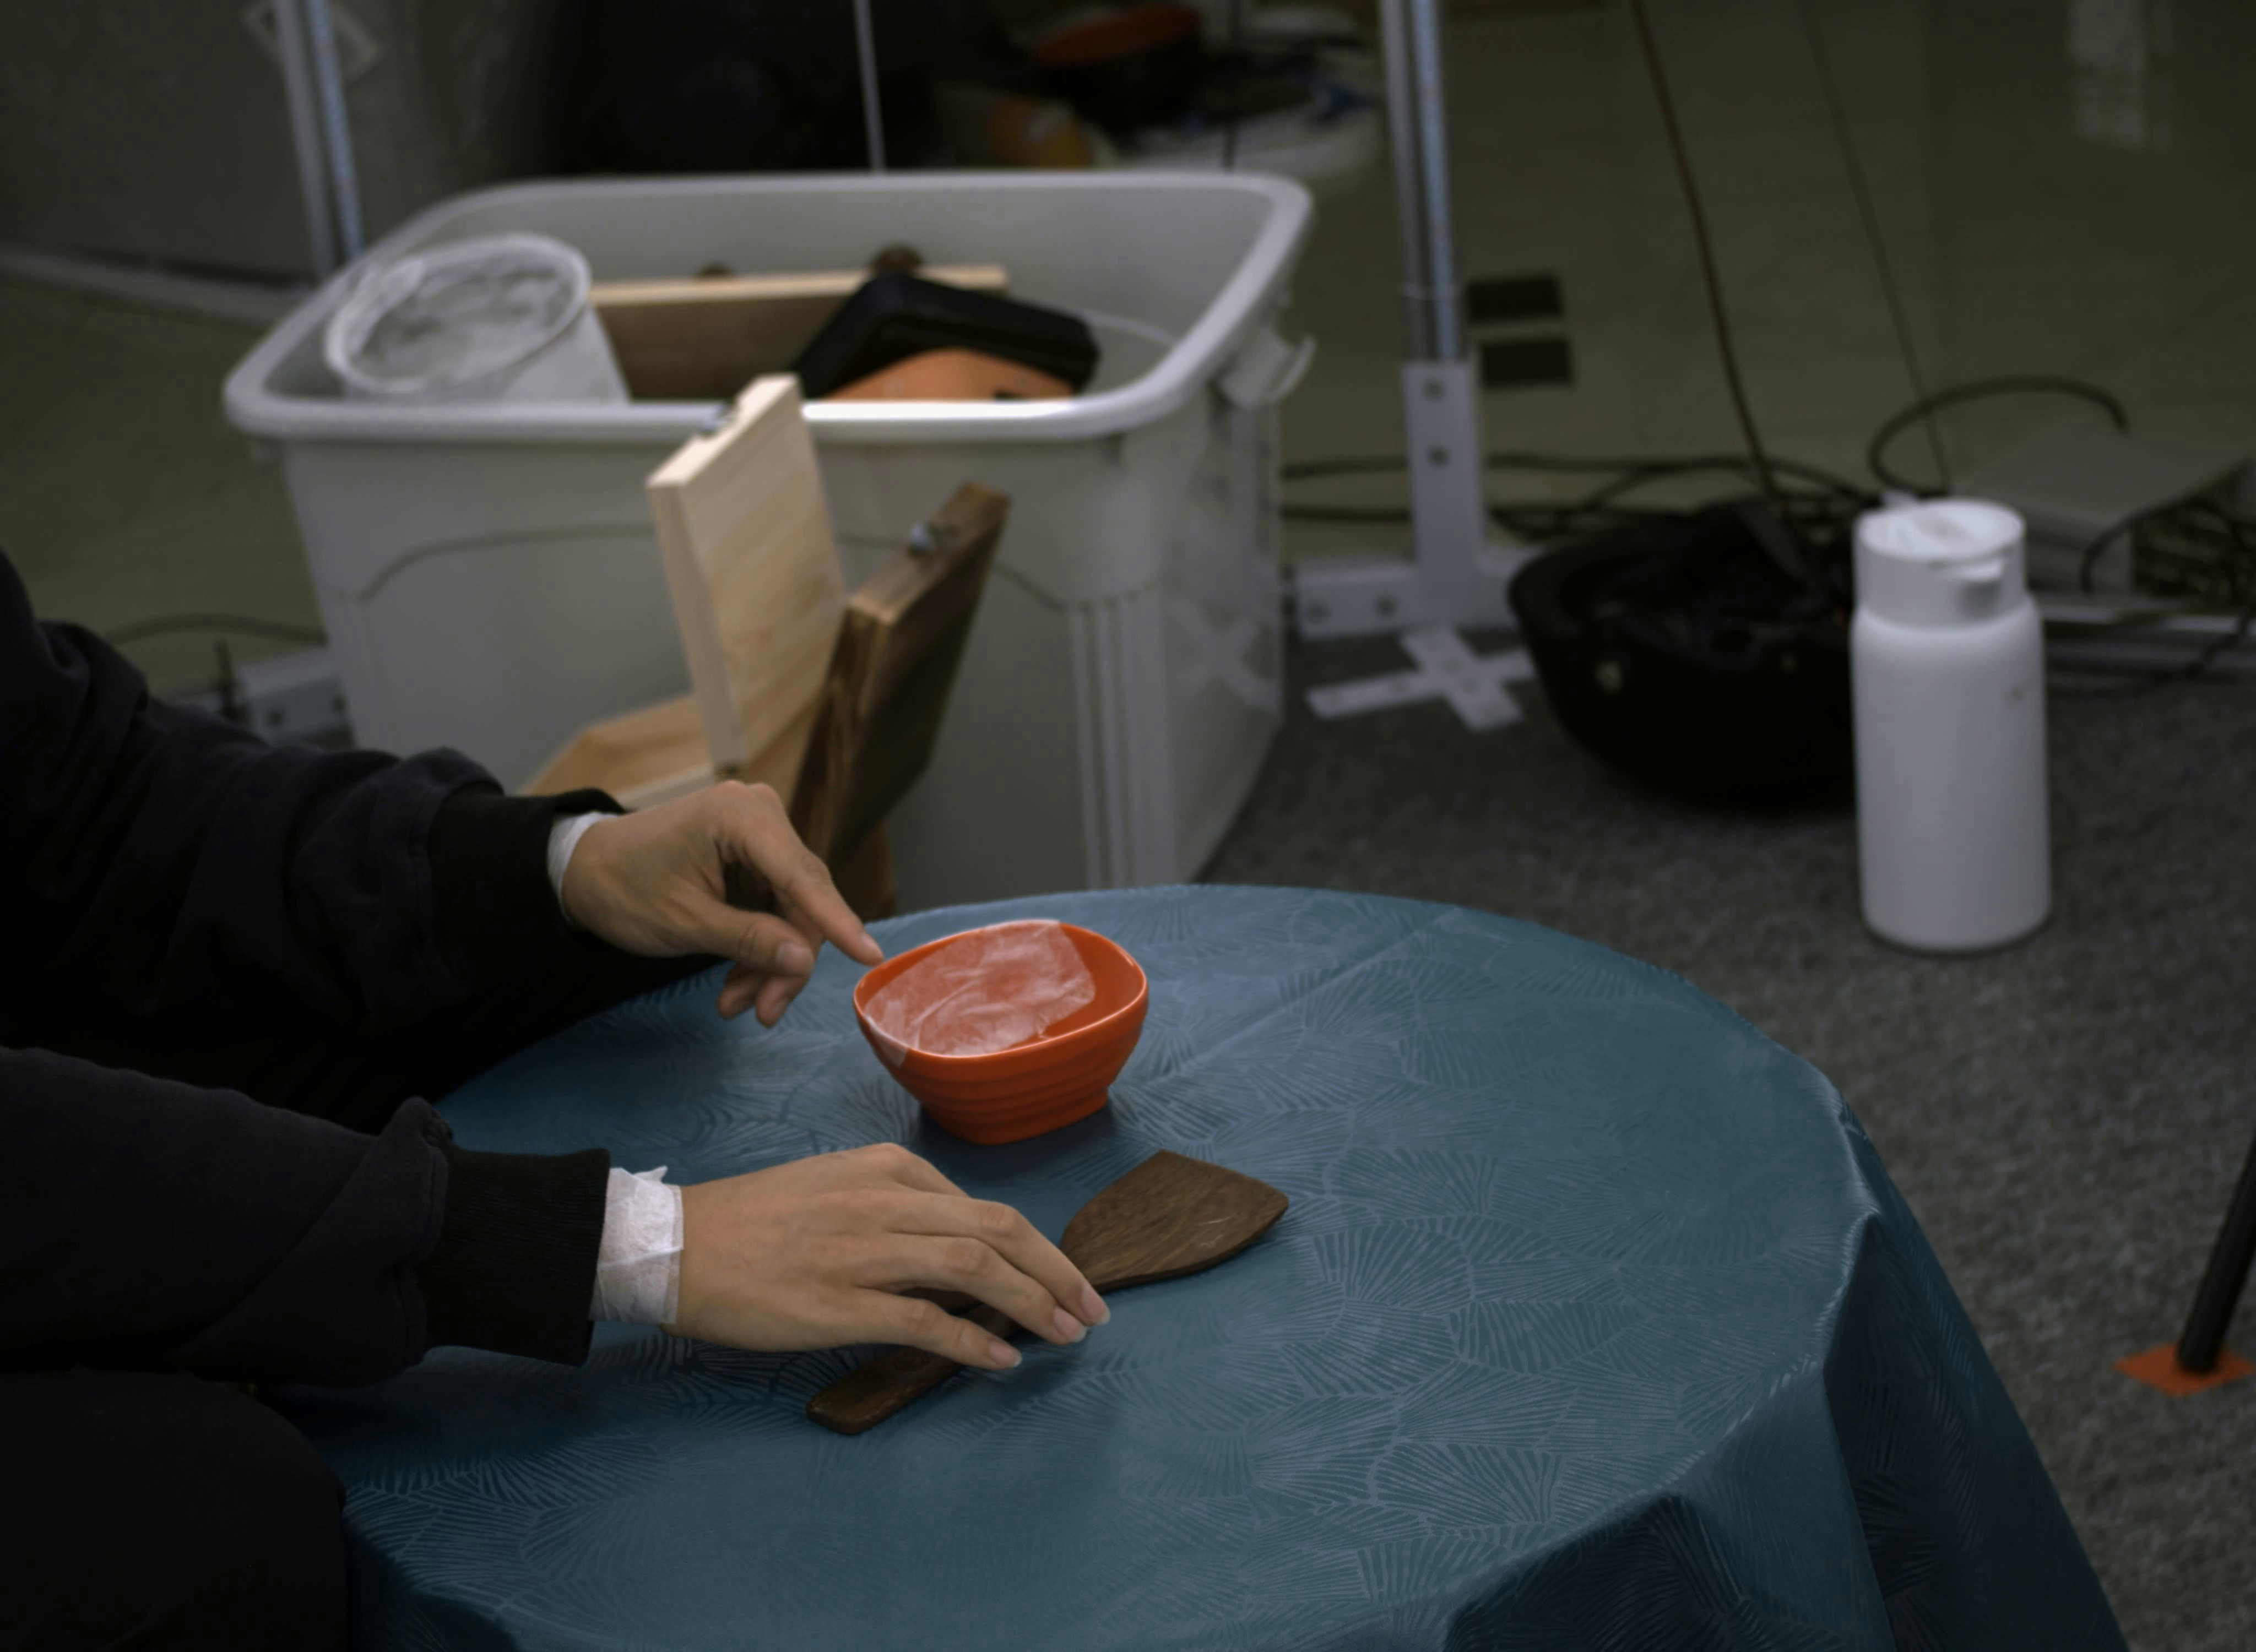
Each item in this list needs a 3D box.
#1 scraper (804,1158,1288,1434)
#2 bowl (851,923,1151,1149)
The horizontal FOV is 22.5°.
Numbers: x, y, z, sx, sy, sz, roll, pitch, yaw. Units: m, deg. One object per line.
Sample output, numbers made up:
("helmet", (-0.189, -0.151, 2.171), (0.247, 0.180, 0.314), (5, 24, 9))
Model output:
("scraper", (-0.035, 0.174, 2.078), (0.209, 0.011, 0.075), (-27, 31, -36))
("bowl", (-0.048, 0.086, 2.218), (0.119, 0.052, 0.117), (-3, 26, 2))
